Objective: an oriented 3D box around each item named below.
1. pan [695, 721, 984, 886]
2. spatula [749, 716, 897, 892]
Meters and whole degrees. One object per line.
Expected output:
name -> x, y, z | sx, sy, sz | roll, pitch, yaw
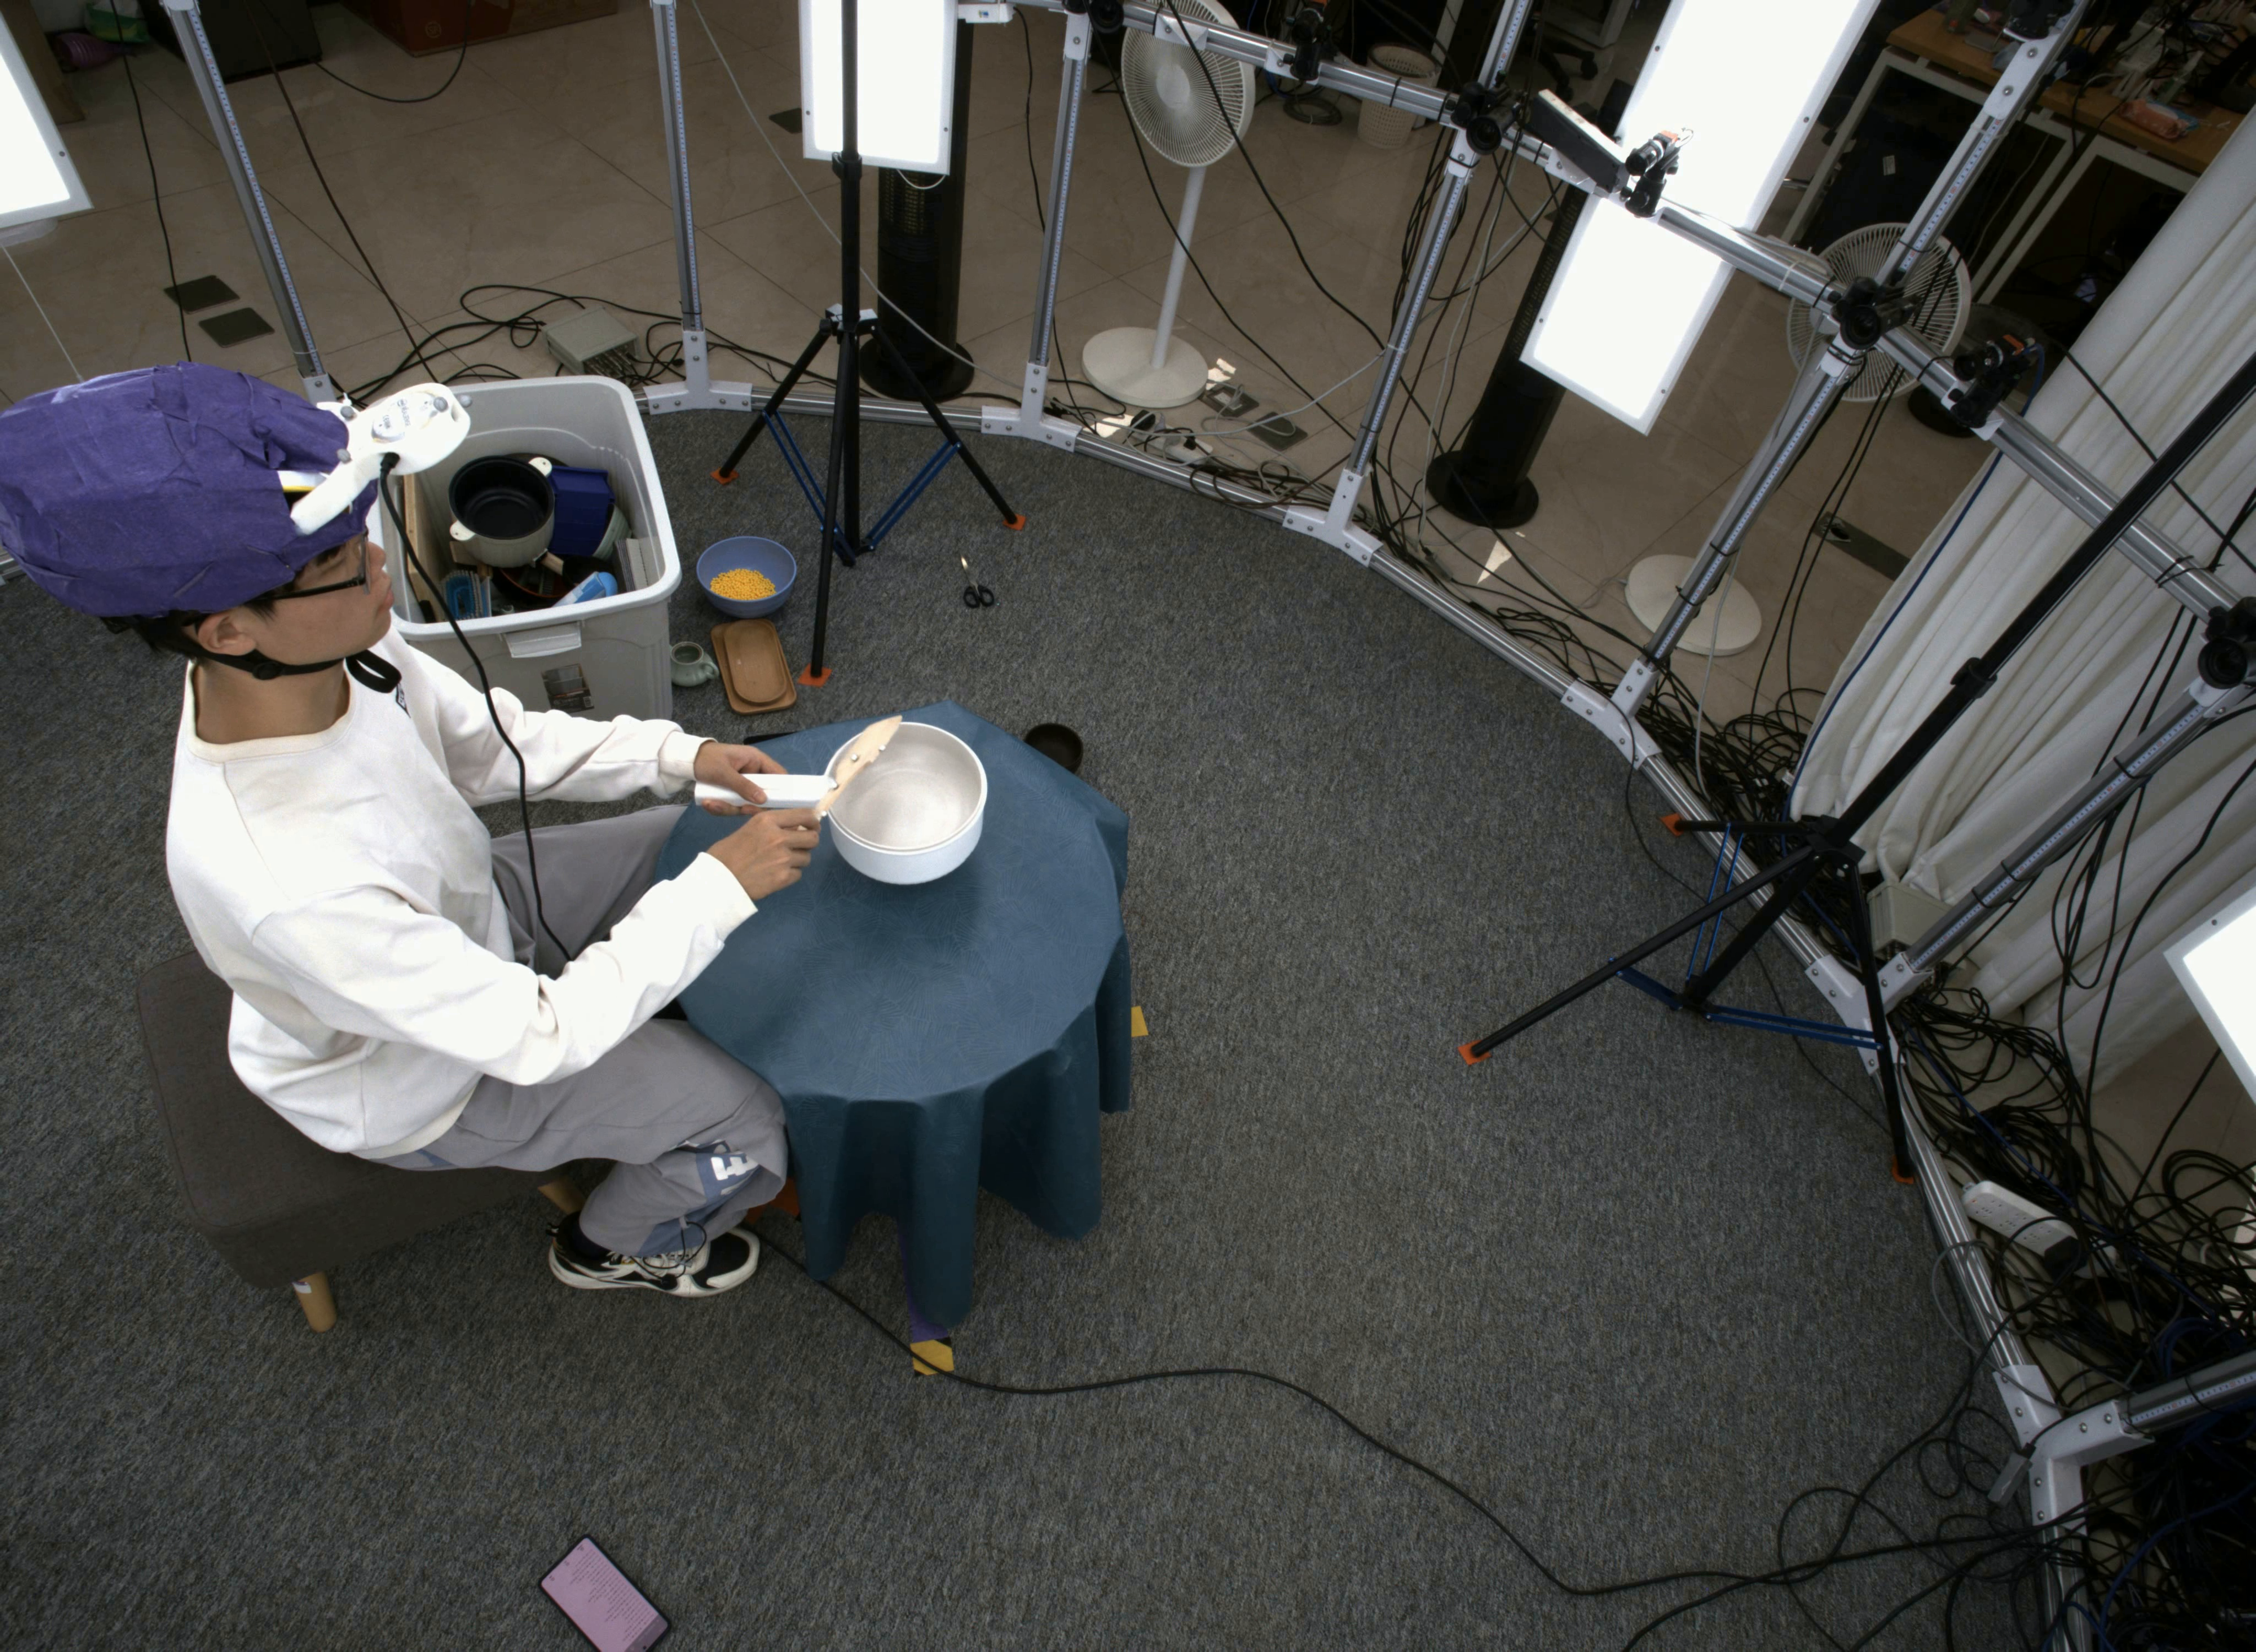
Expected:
pan -> -0.358, -0.024, 1.640 | 0.353, 0.104, 0.198 | 0, 58, -8
spatula -> -0.361, -0.030, 1.531 | 0.011, 0.070, 0.291 | 53, 46, -27
